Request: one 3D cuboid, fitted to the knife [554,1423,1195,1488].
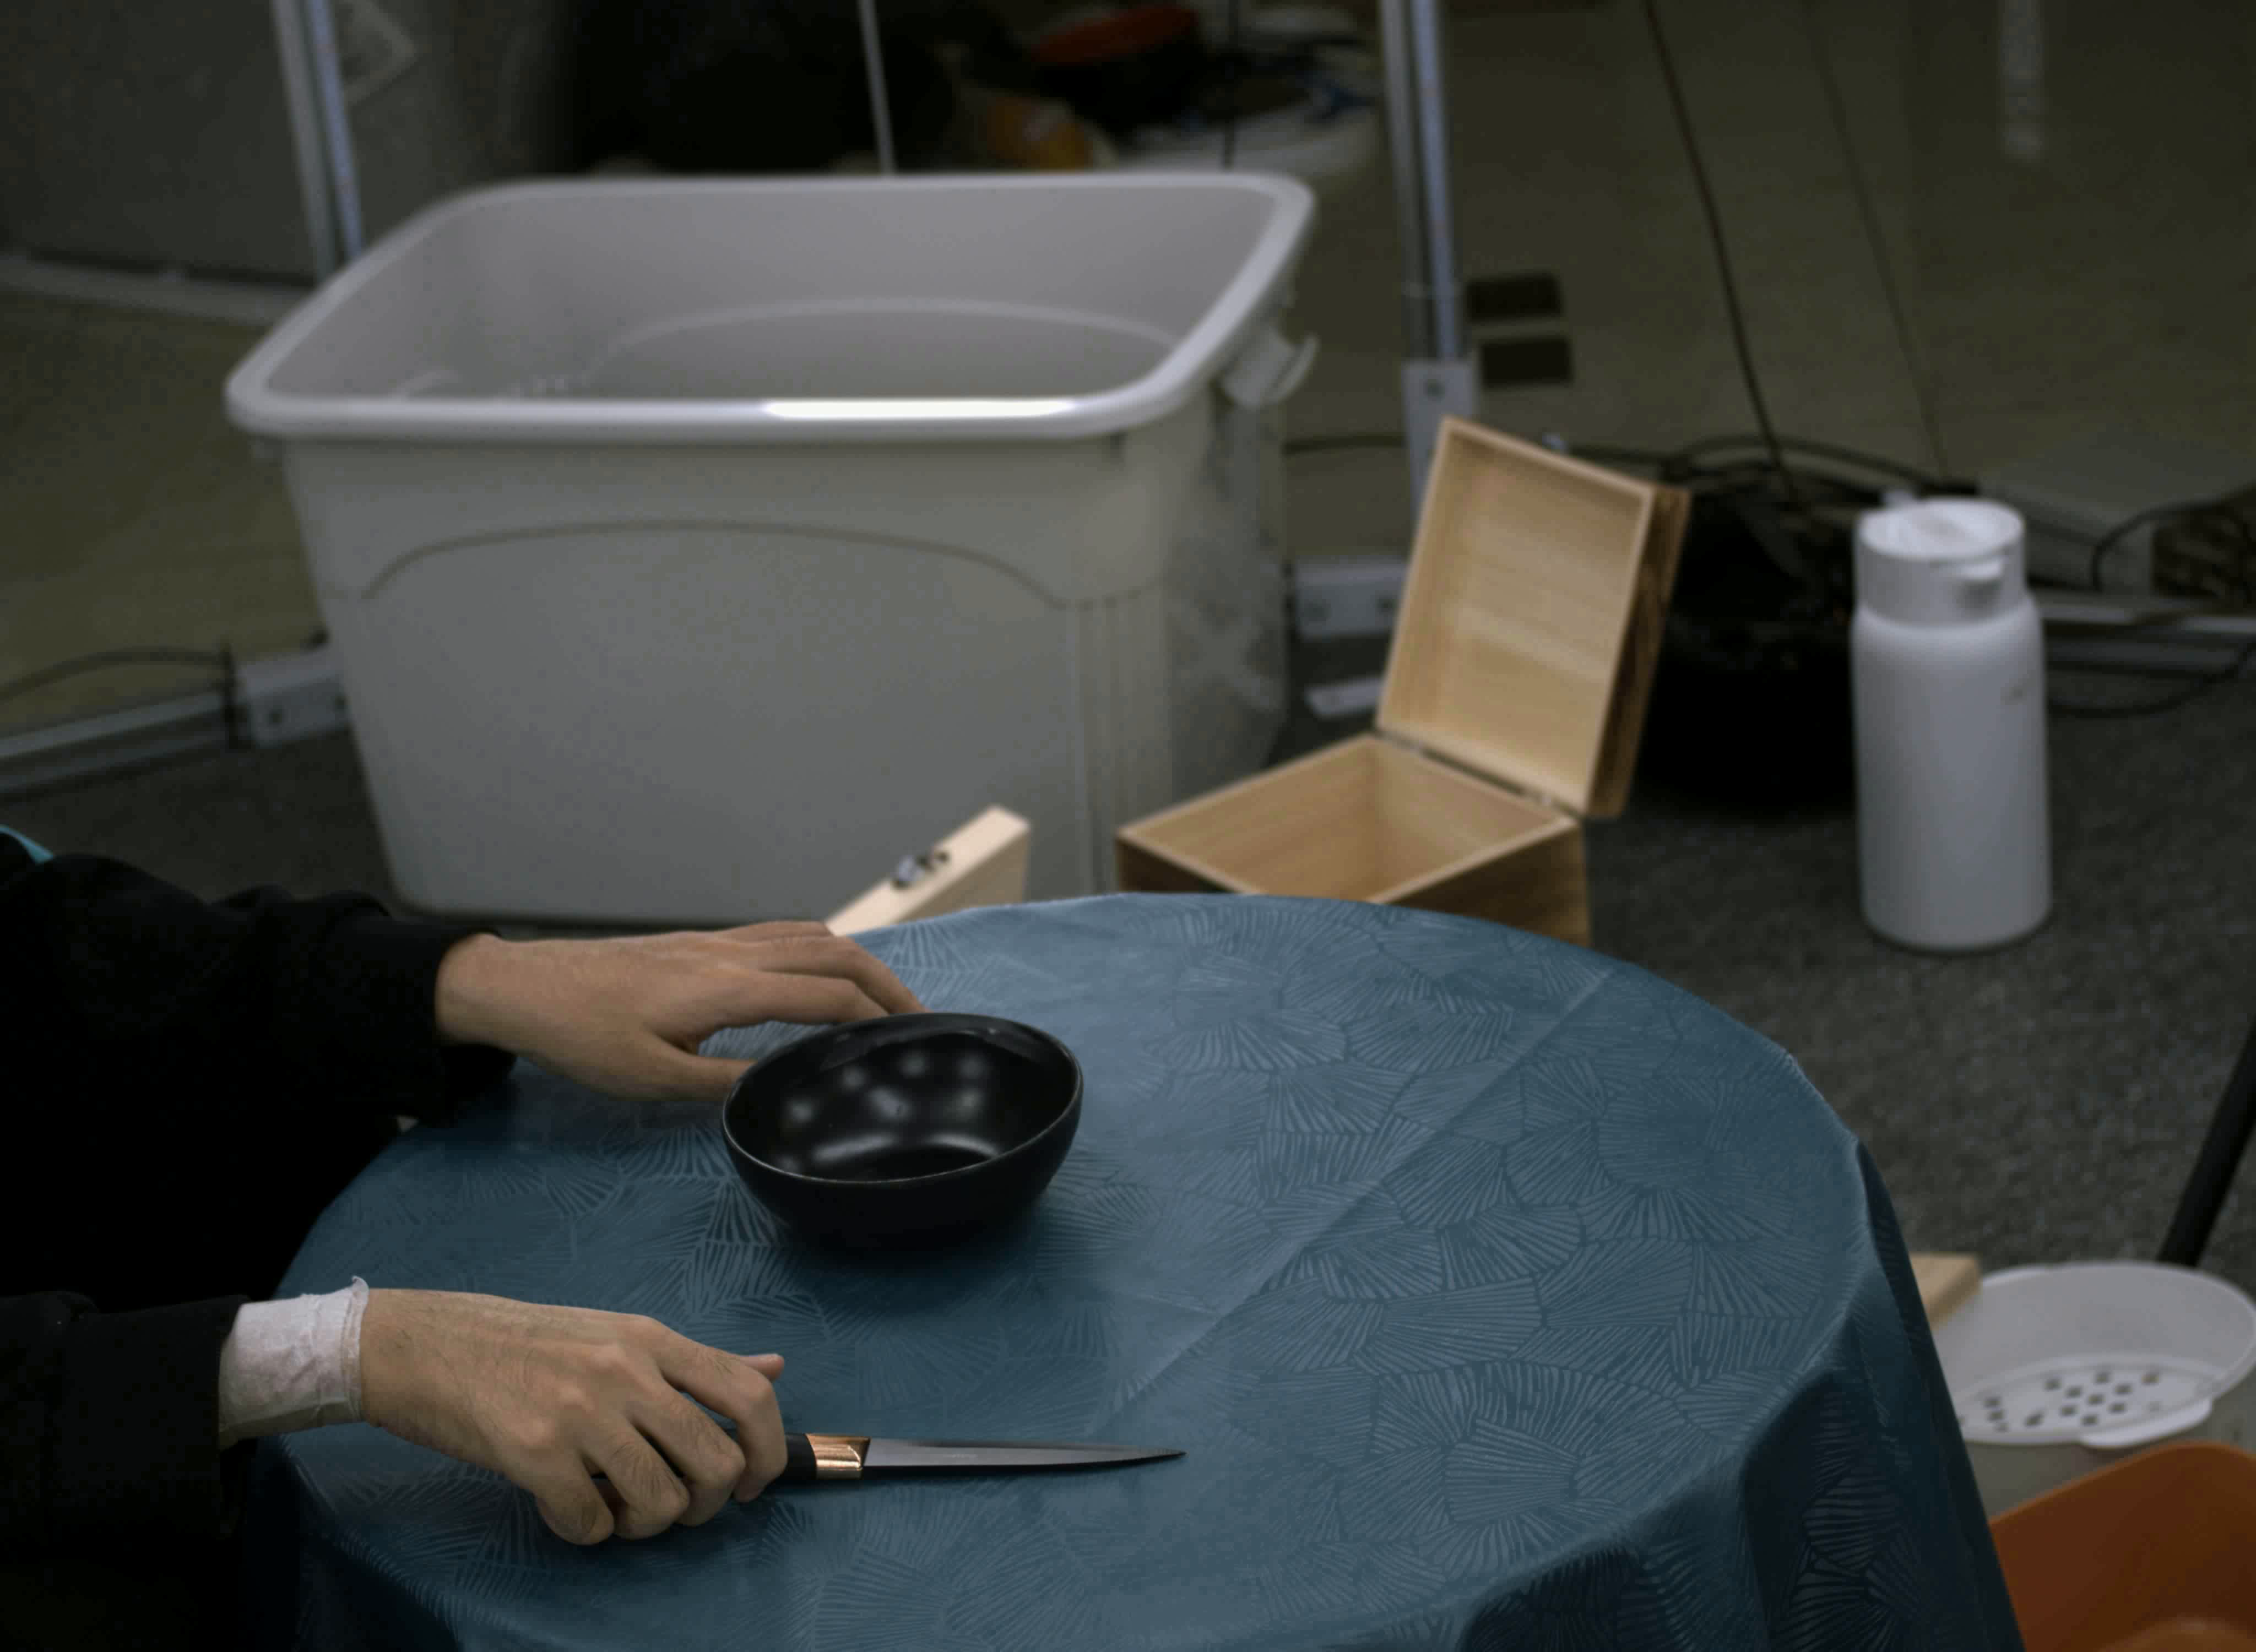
[{"bbox_3d":[-0.089,0.219,1.985,0.225,0.017,0.026,-3,23,5],"label":"knife"}]

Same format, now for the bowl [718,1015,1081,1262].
[{"bbox_3d":[-0.083,0.126,2.143,0.140,0.050,0.138,-9,27,5],"label":"bowl"}]
